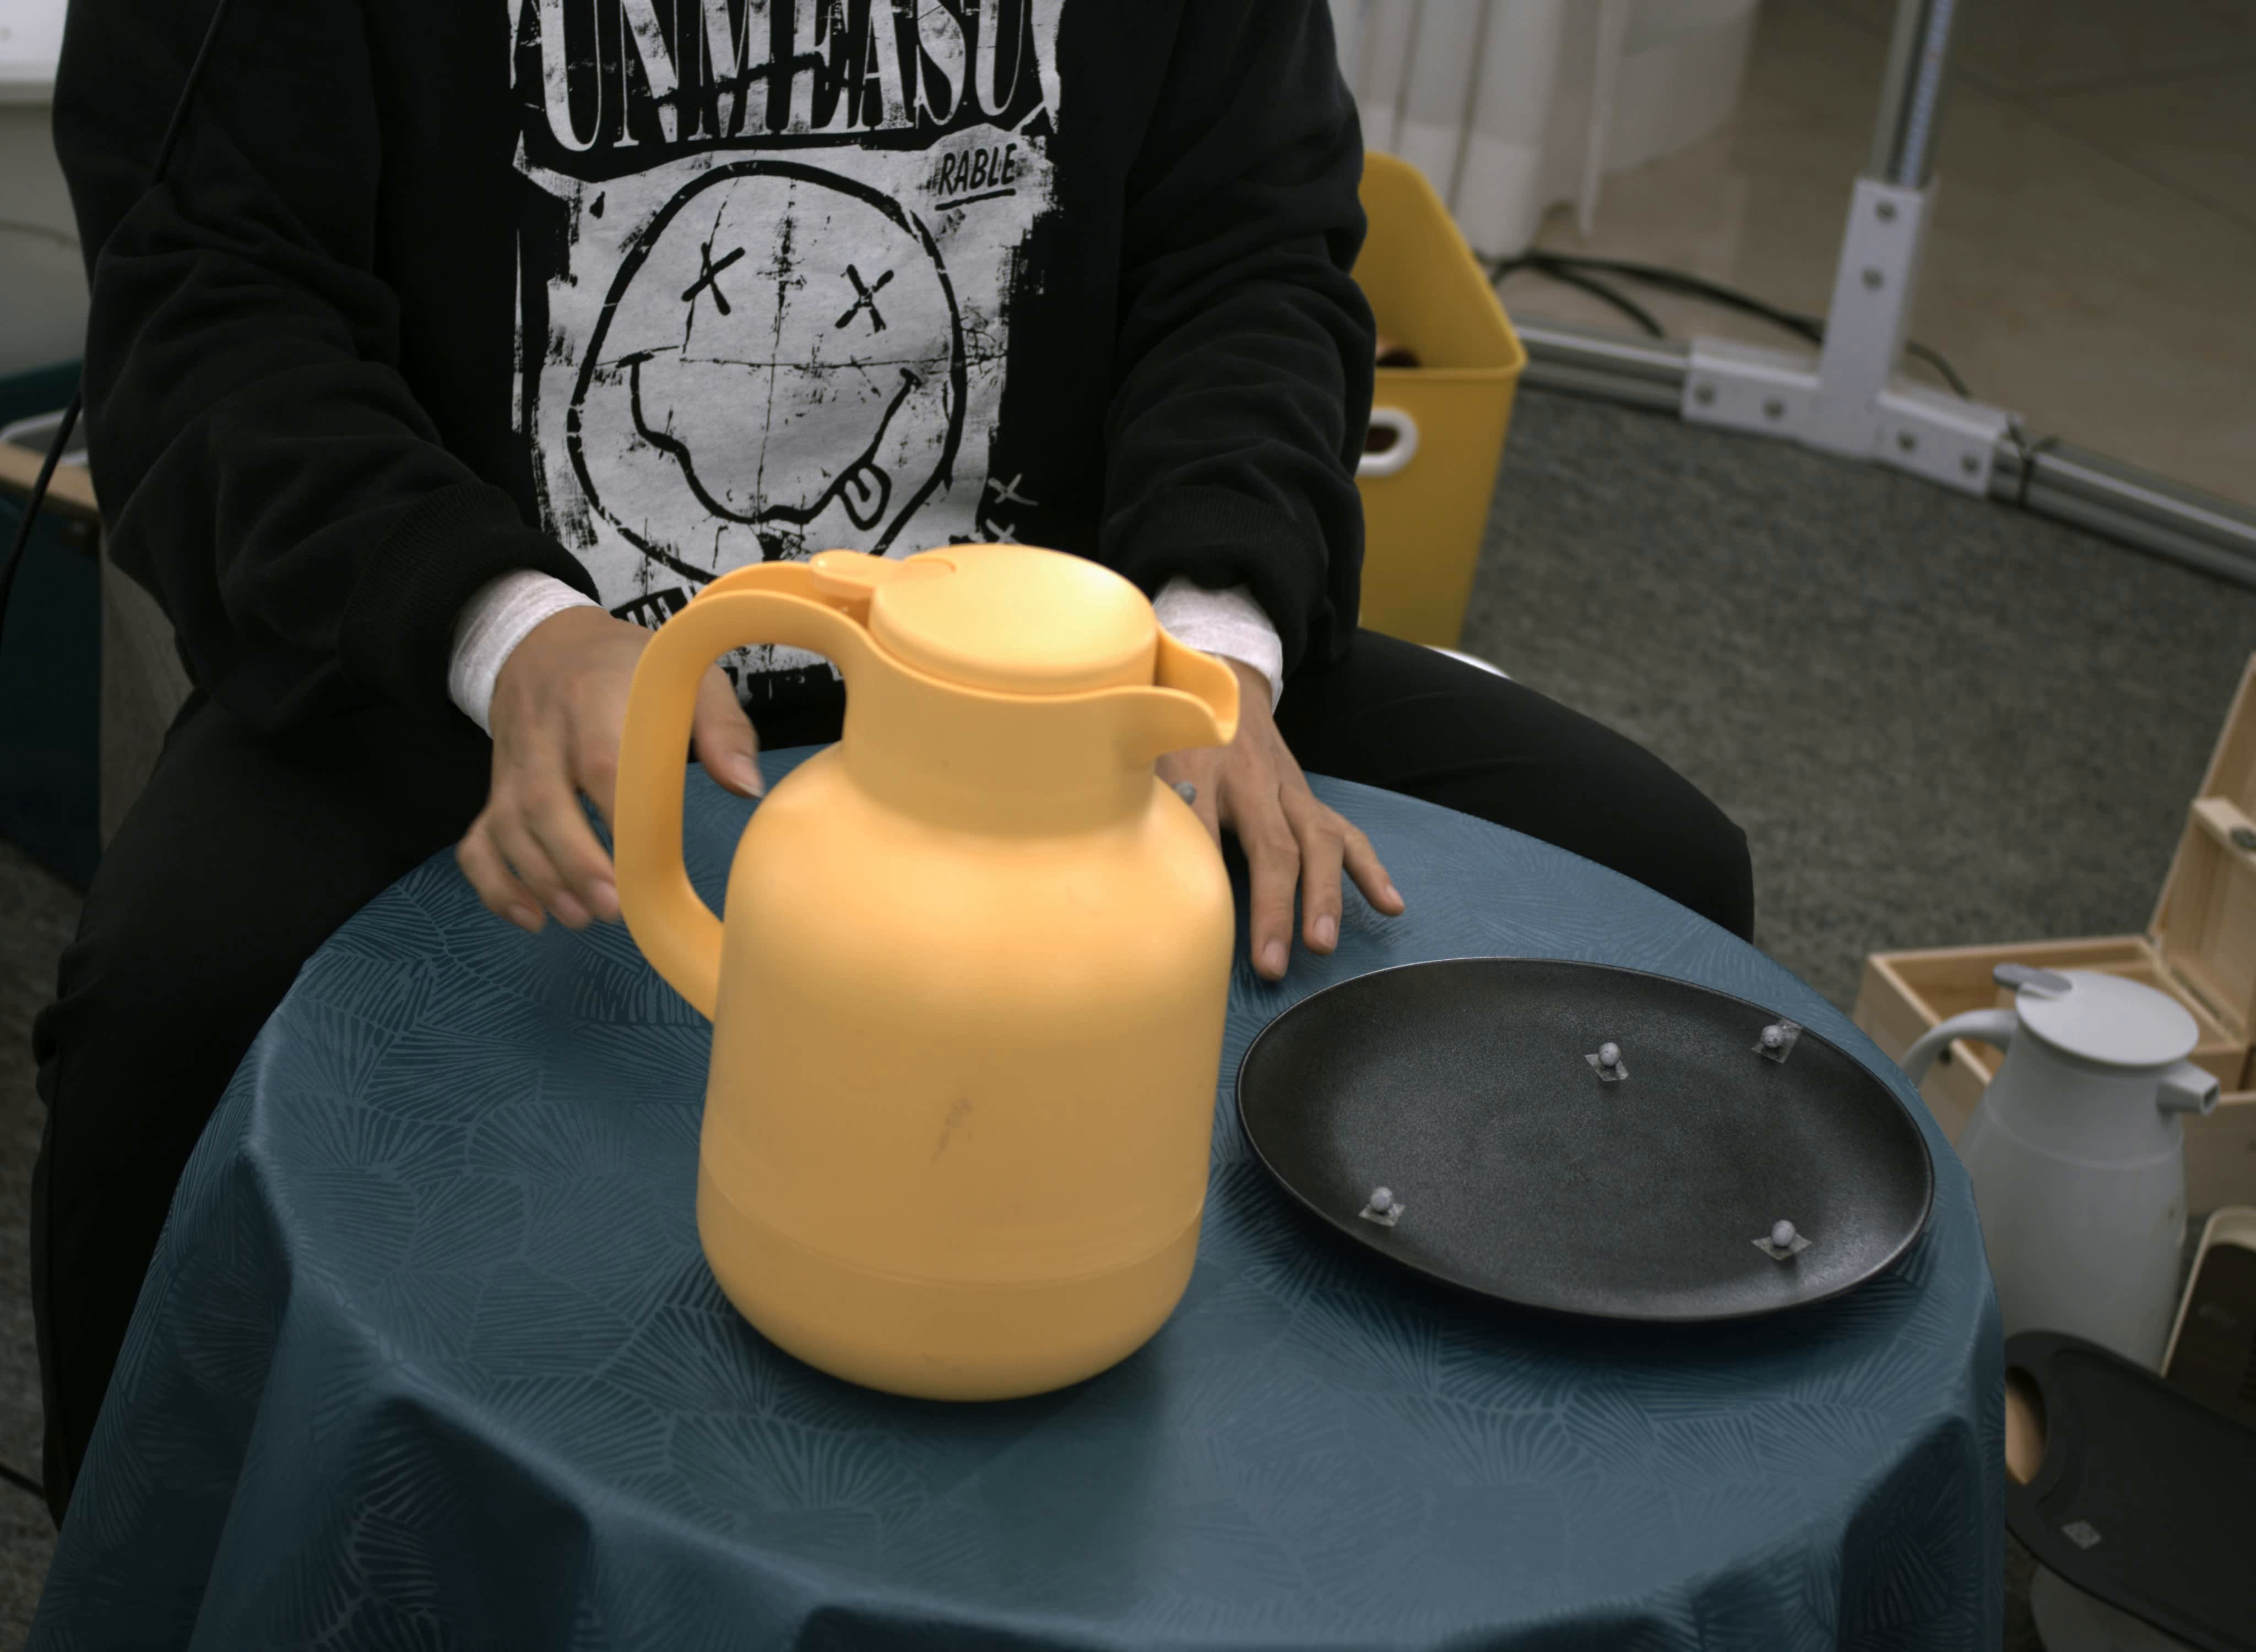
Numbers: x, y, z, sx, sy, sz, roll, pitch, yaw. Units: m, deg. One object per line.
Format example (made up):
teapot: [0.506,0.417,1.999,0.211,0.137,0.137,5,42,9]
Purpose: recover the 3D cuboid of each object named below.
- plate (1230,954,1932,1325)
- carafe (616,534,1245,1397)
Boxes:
plate: [0.155,0.113,1.835,0.243,0.023,0.246,5,27,-3]
carafe: [-0.067,0.033,1.678,0.203,0.260,0.163,18,26,17]
